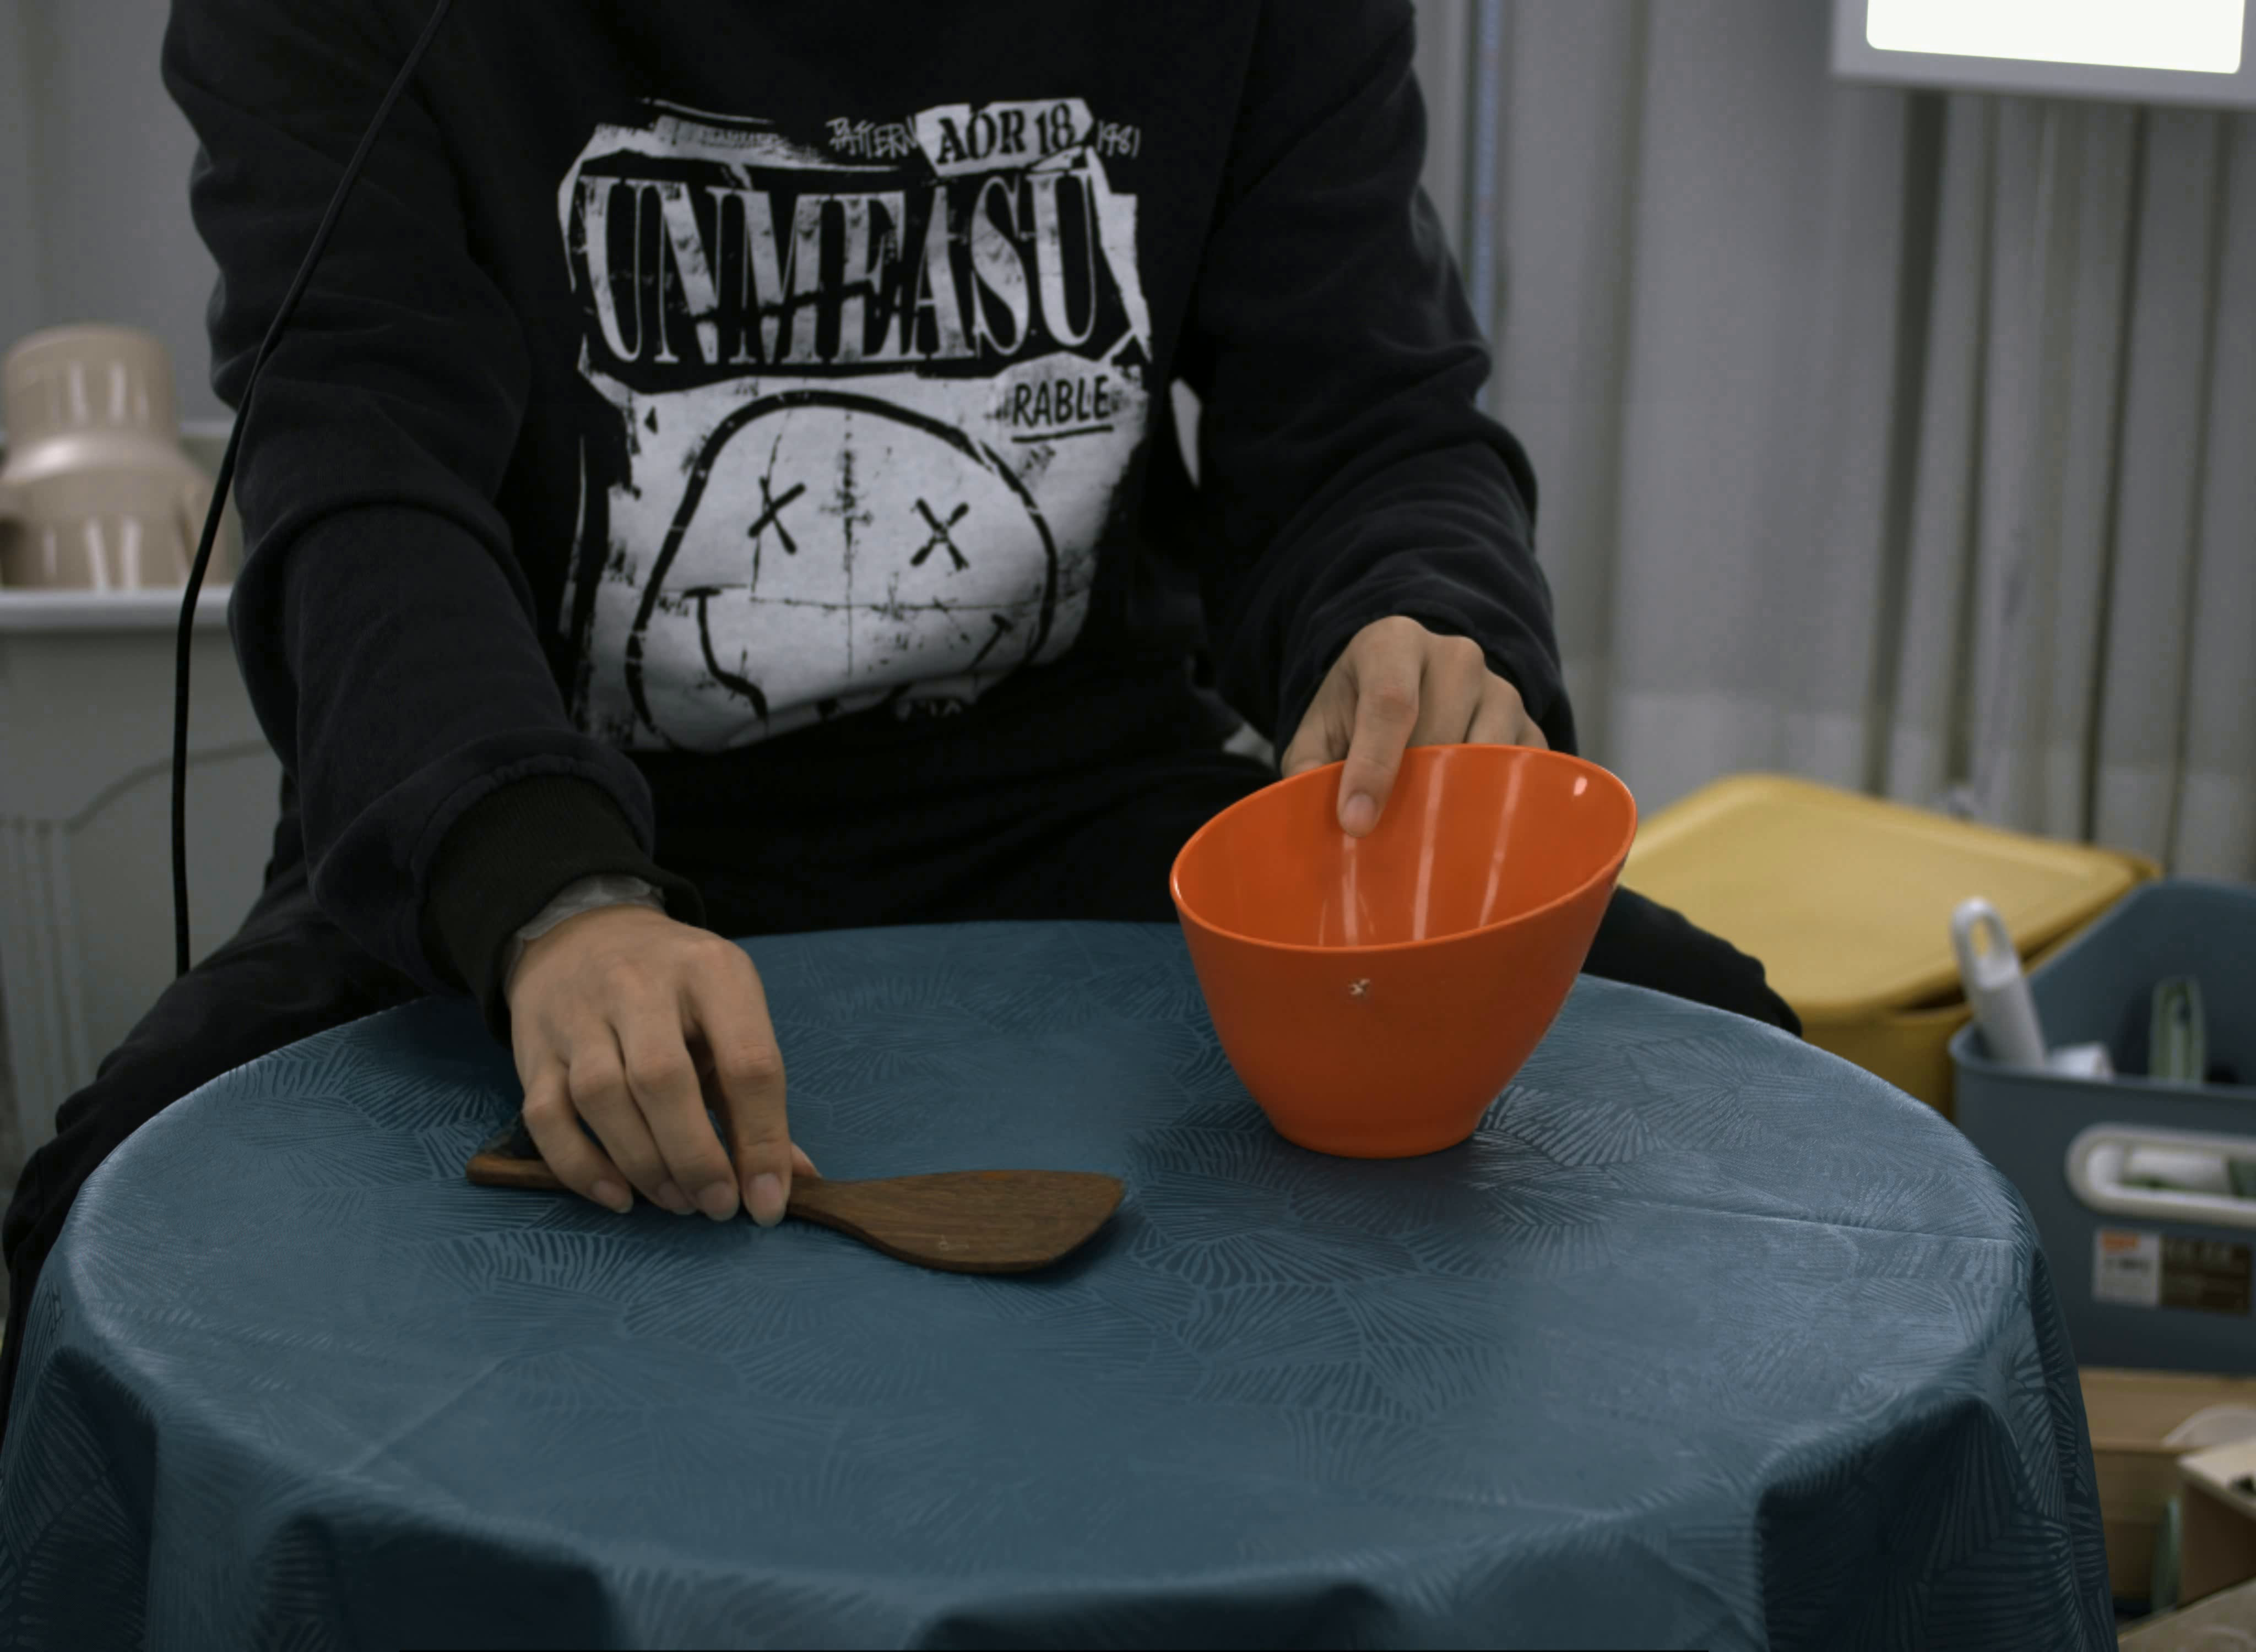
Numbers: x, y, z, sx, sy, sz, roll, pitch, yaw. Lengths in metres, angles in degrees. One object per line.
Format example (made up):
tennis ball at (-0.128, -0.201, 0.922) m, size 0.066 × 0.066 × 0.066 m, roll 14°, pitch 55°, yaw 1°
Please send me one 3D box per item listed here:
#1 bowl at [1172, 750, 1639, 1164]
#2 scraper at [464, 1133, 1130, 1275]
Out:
bowl at (0.088, 0.045, 1.673) m, size 0.147 × 0.105 × 0.147 m, roll 0°, pitch 21°, yaw 0°
scraper at (-0.104, 0.111, 1.605) m, size 0.209 × 0.011 × 0.076 m, roll 6°, pitch 19°, yaw 18°
